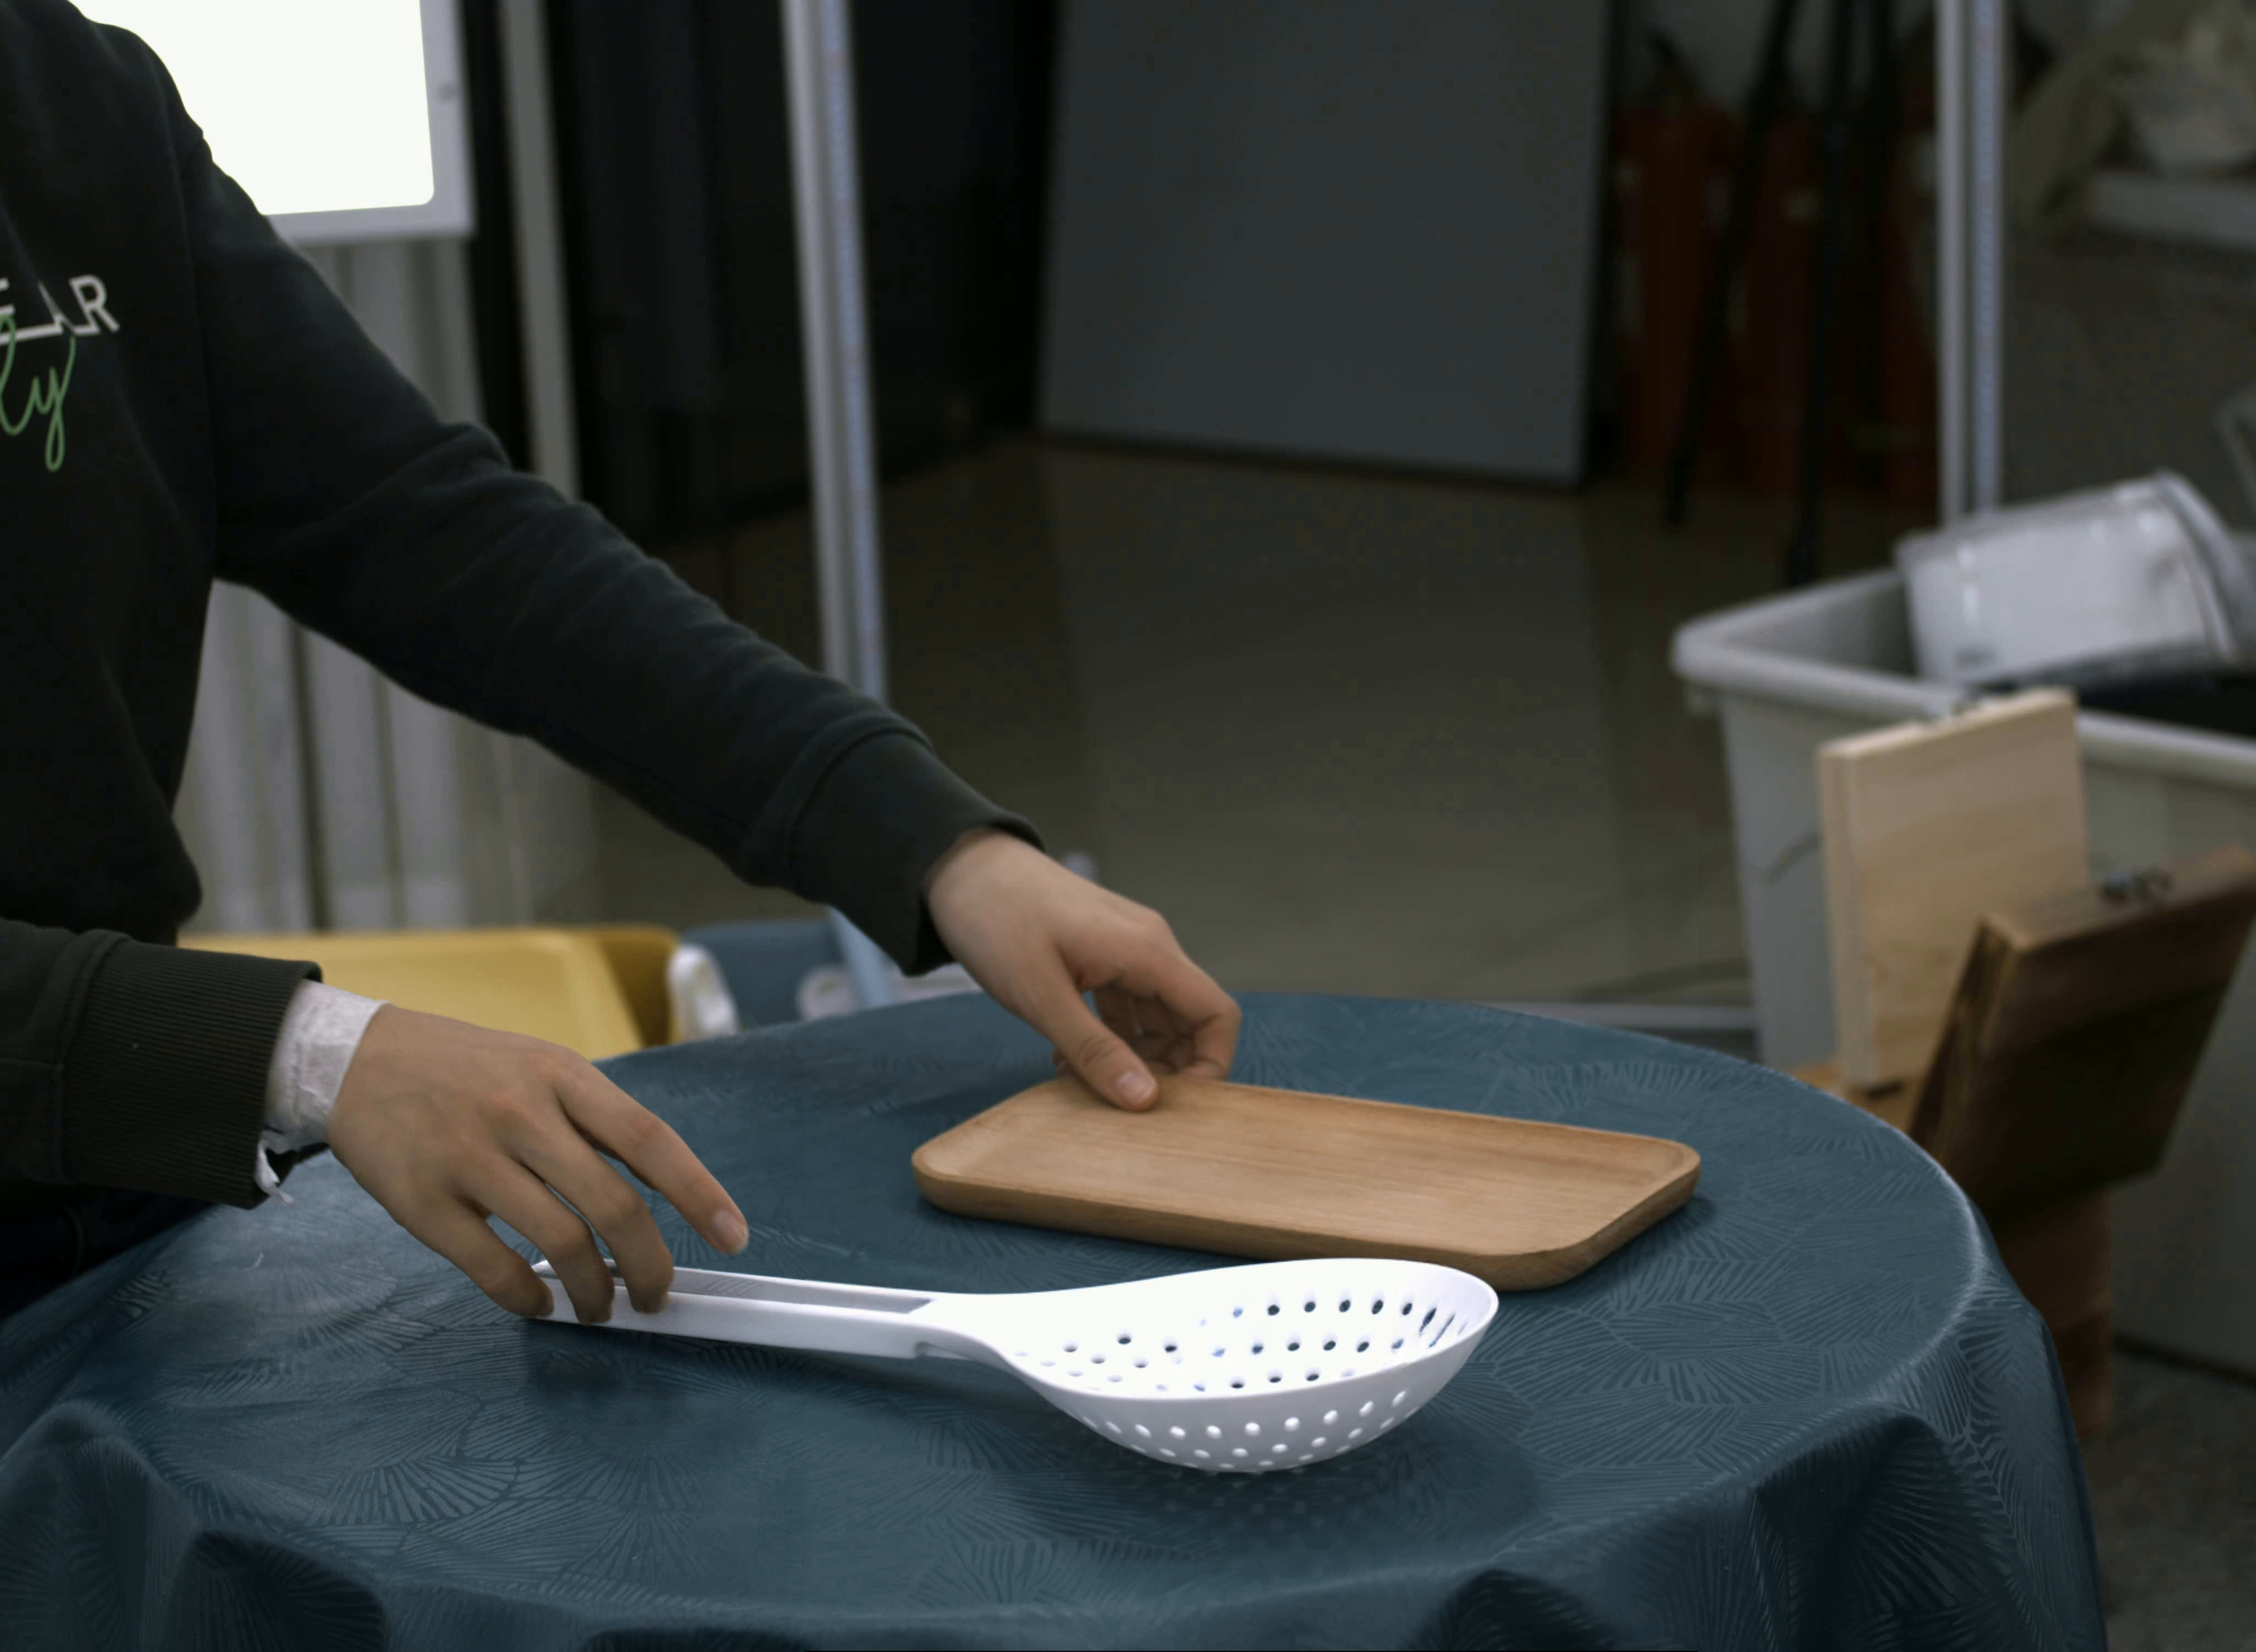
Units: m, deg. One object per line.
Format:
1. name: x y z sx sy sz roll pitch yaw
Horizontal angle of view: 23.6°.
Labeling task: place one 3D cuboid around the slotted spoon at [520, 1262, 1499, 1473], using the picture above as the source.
1. slotted spoon: -0.046 0.147 1.584 0.352 0.046 0.133 6 15 38

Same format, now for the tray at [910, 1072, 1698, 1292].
1. tray: 0.056 0.114 1.749 0.252 0.023 0.128 4 14 34
